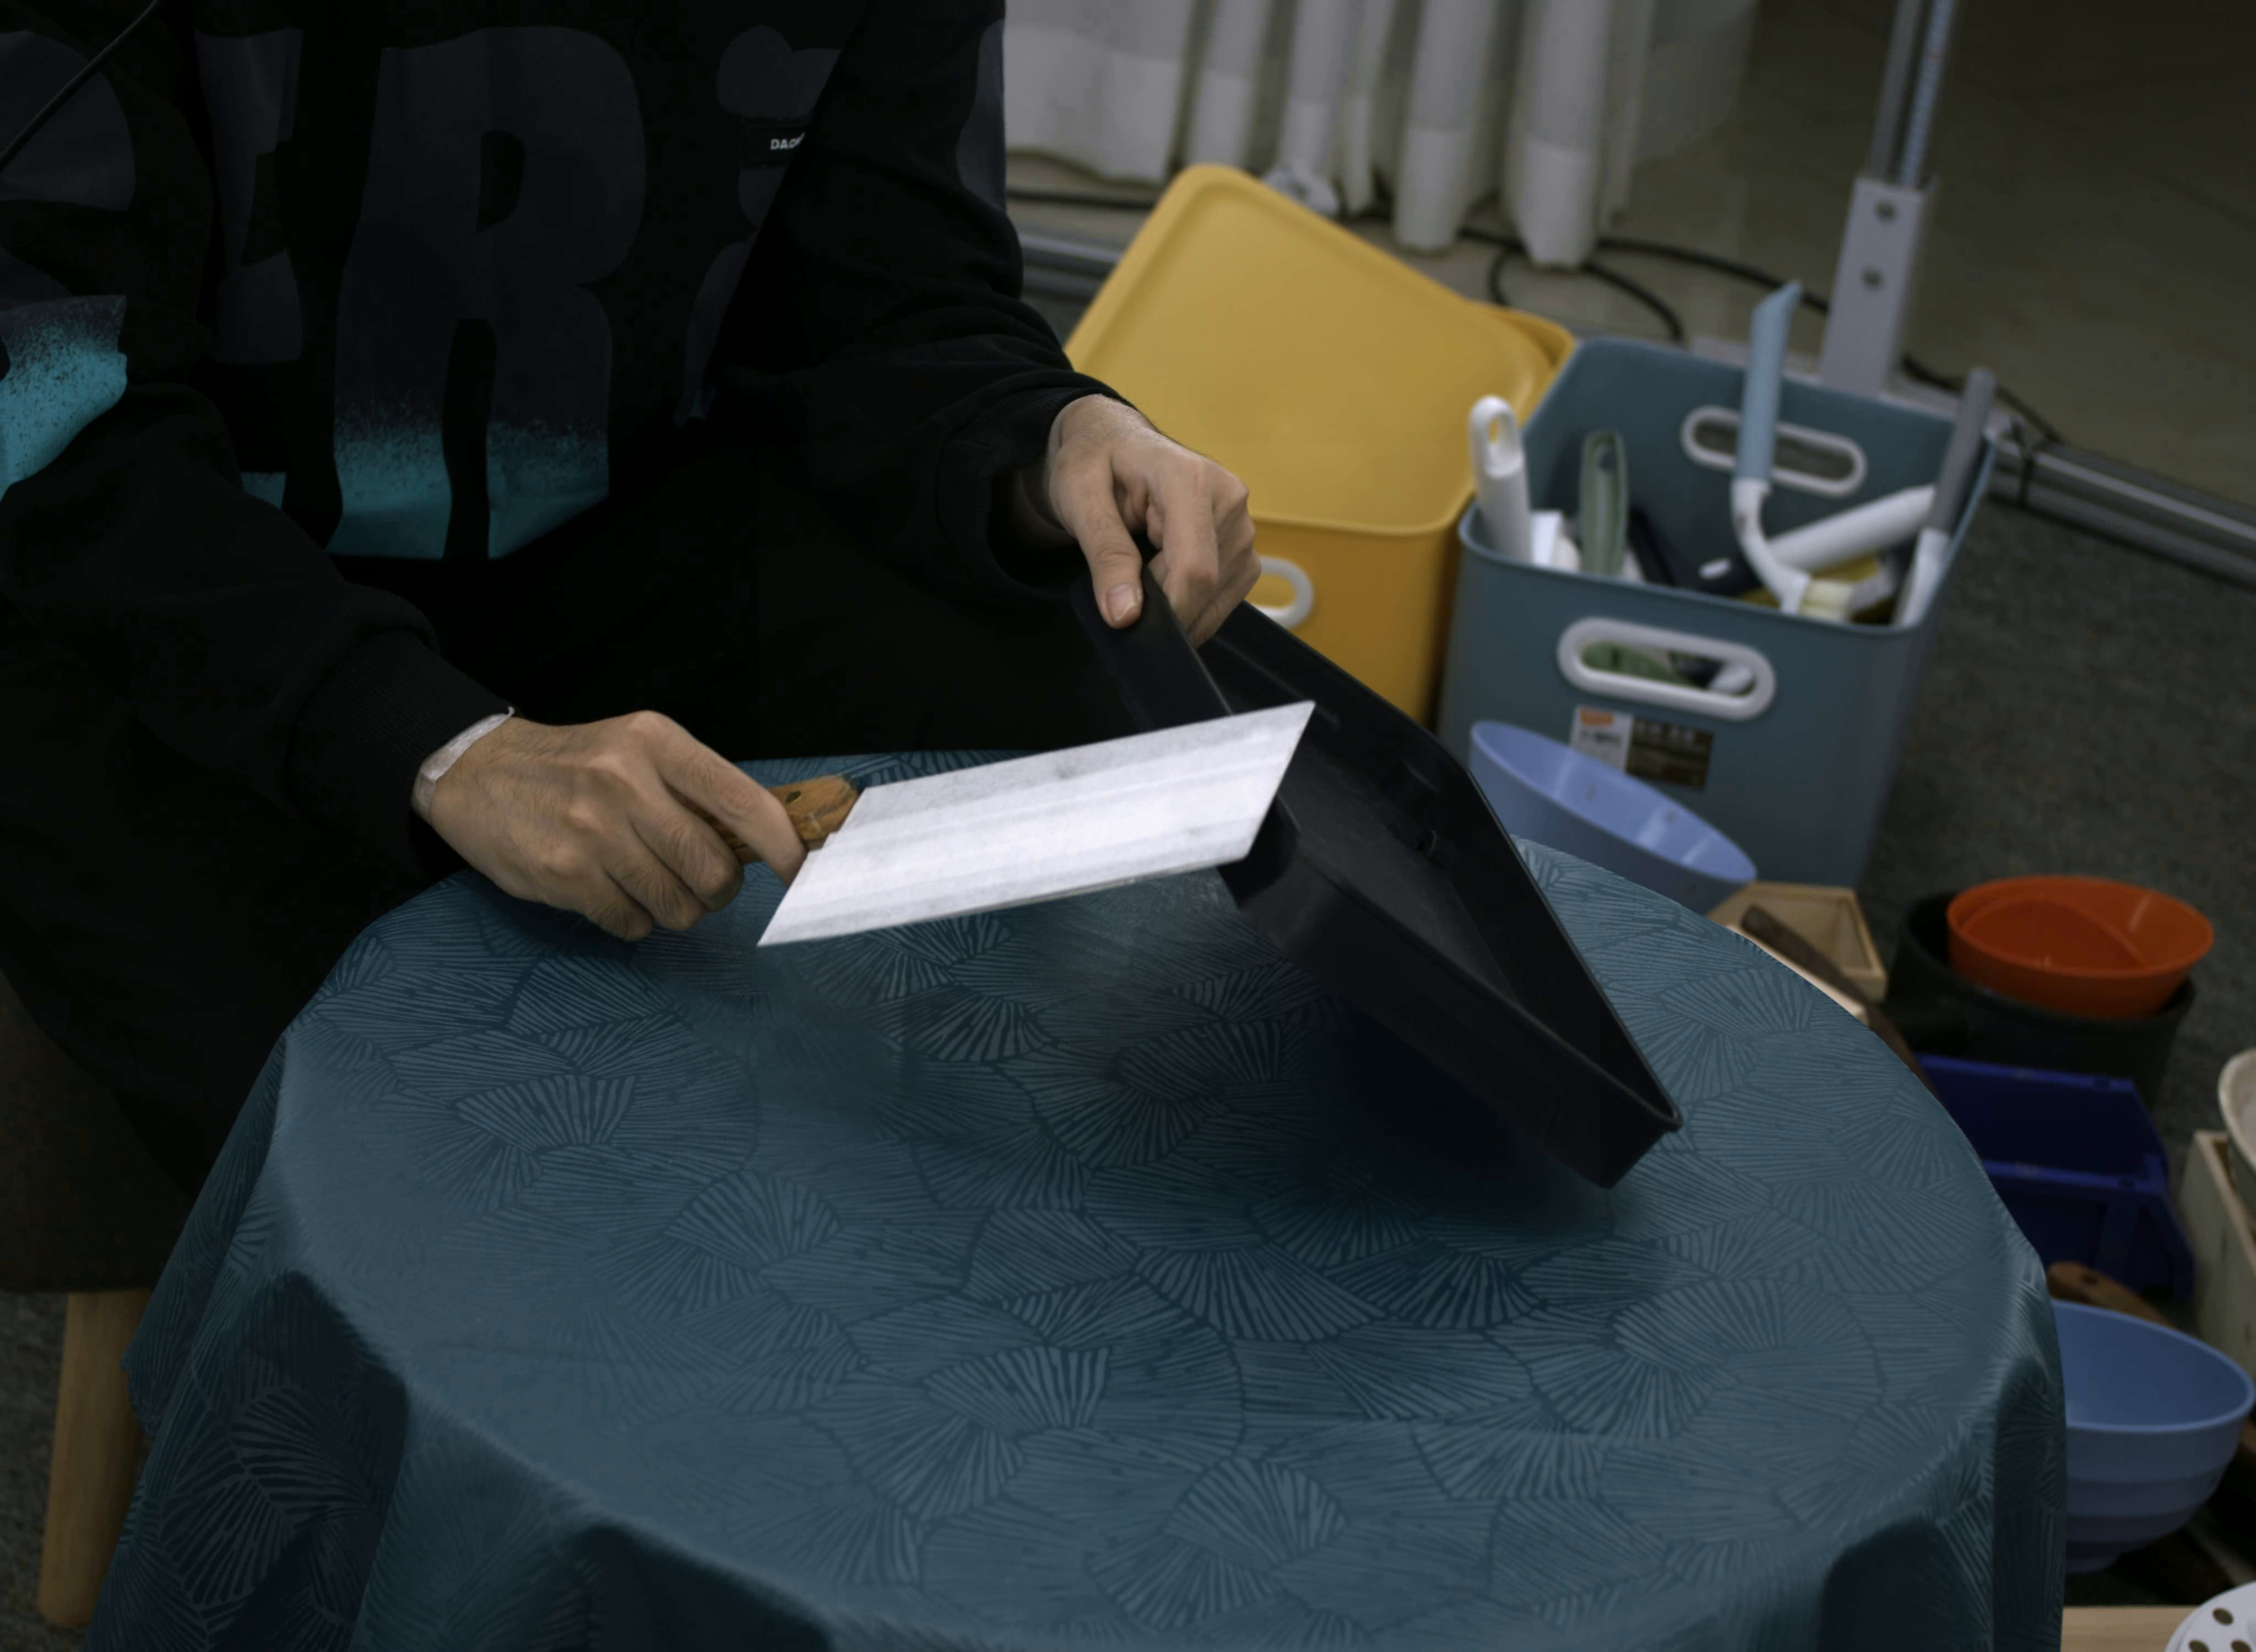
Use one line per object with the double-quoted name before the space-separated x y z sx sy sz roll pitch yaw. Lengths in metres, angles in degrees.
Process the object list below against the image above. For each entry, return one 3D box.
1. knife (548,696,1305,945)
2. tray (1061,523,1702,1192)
"knife" -0.081 0.006 1.840 0.306 0.021 0.093 -11 32 28
"tray" 0.084 0.006 1.892 0.183 0.037 0.320 35 12 -26
